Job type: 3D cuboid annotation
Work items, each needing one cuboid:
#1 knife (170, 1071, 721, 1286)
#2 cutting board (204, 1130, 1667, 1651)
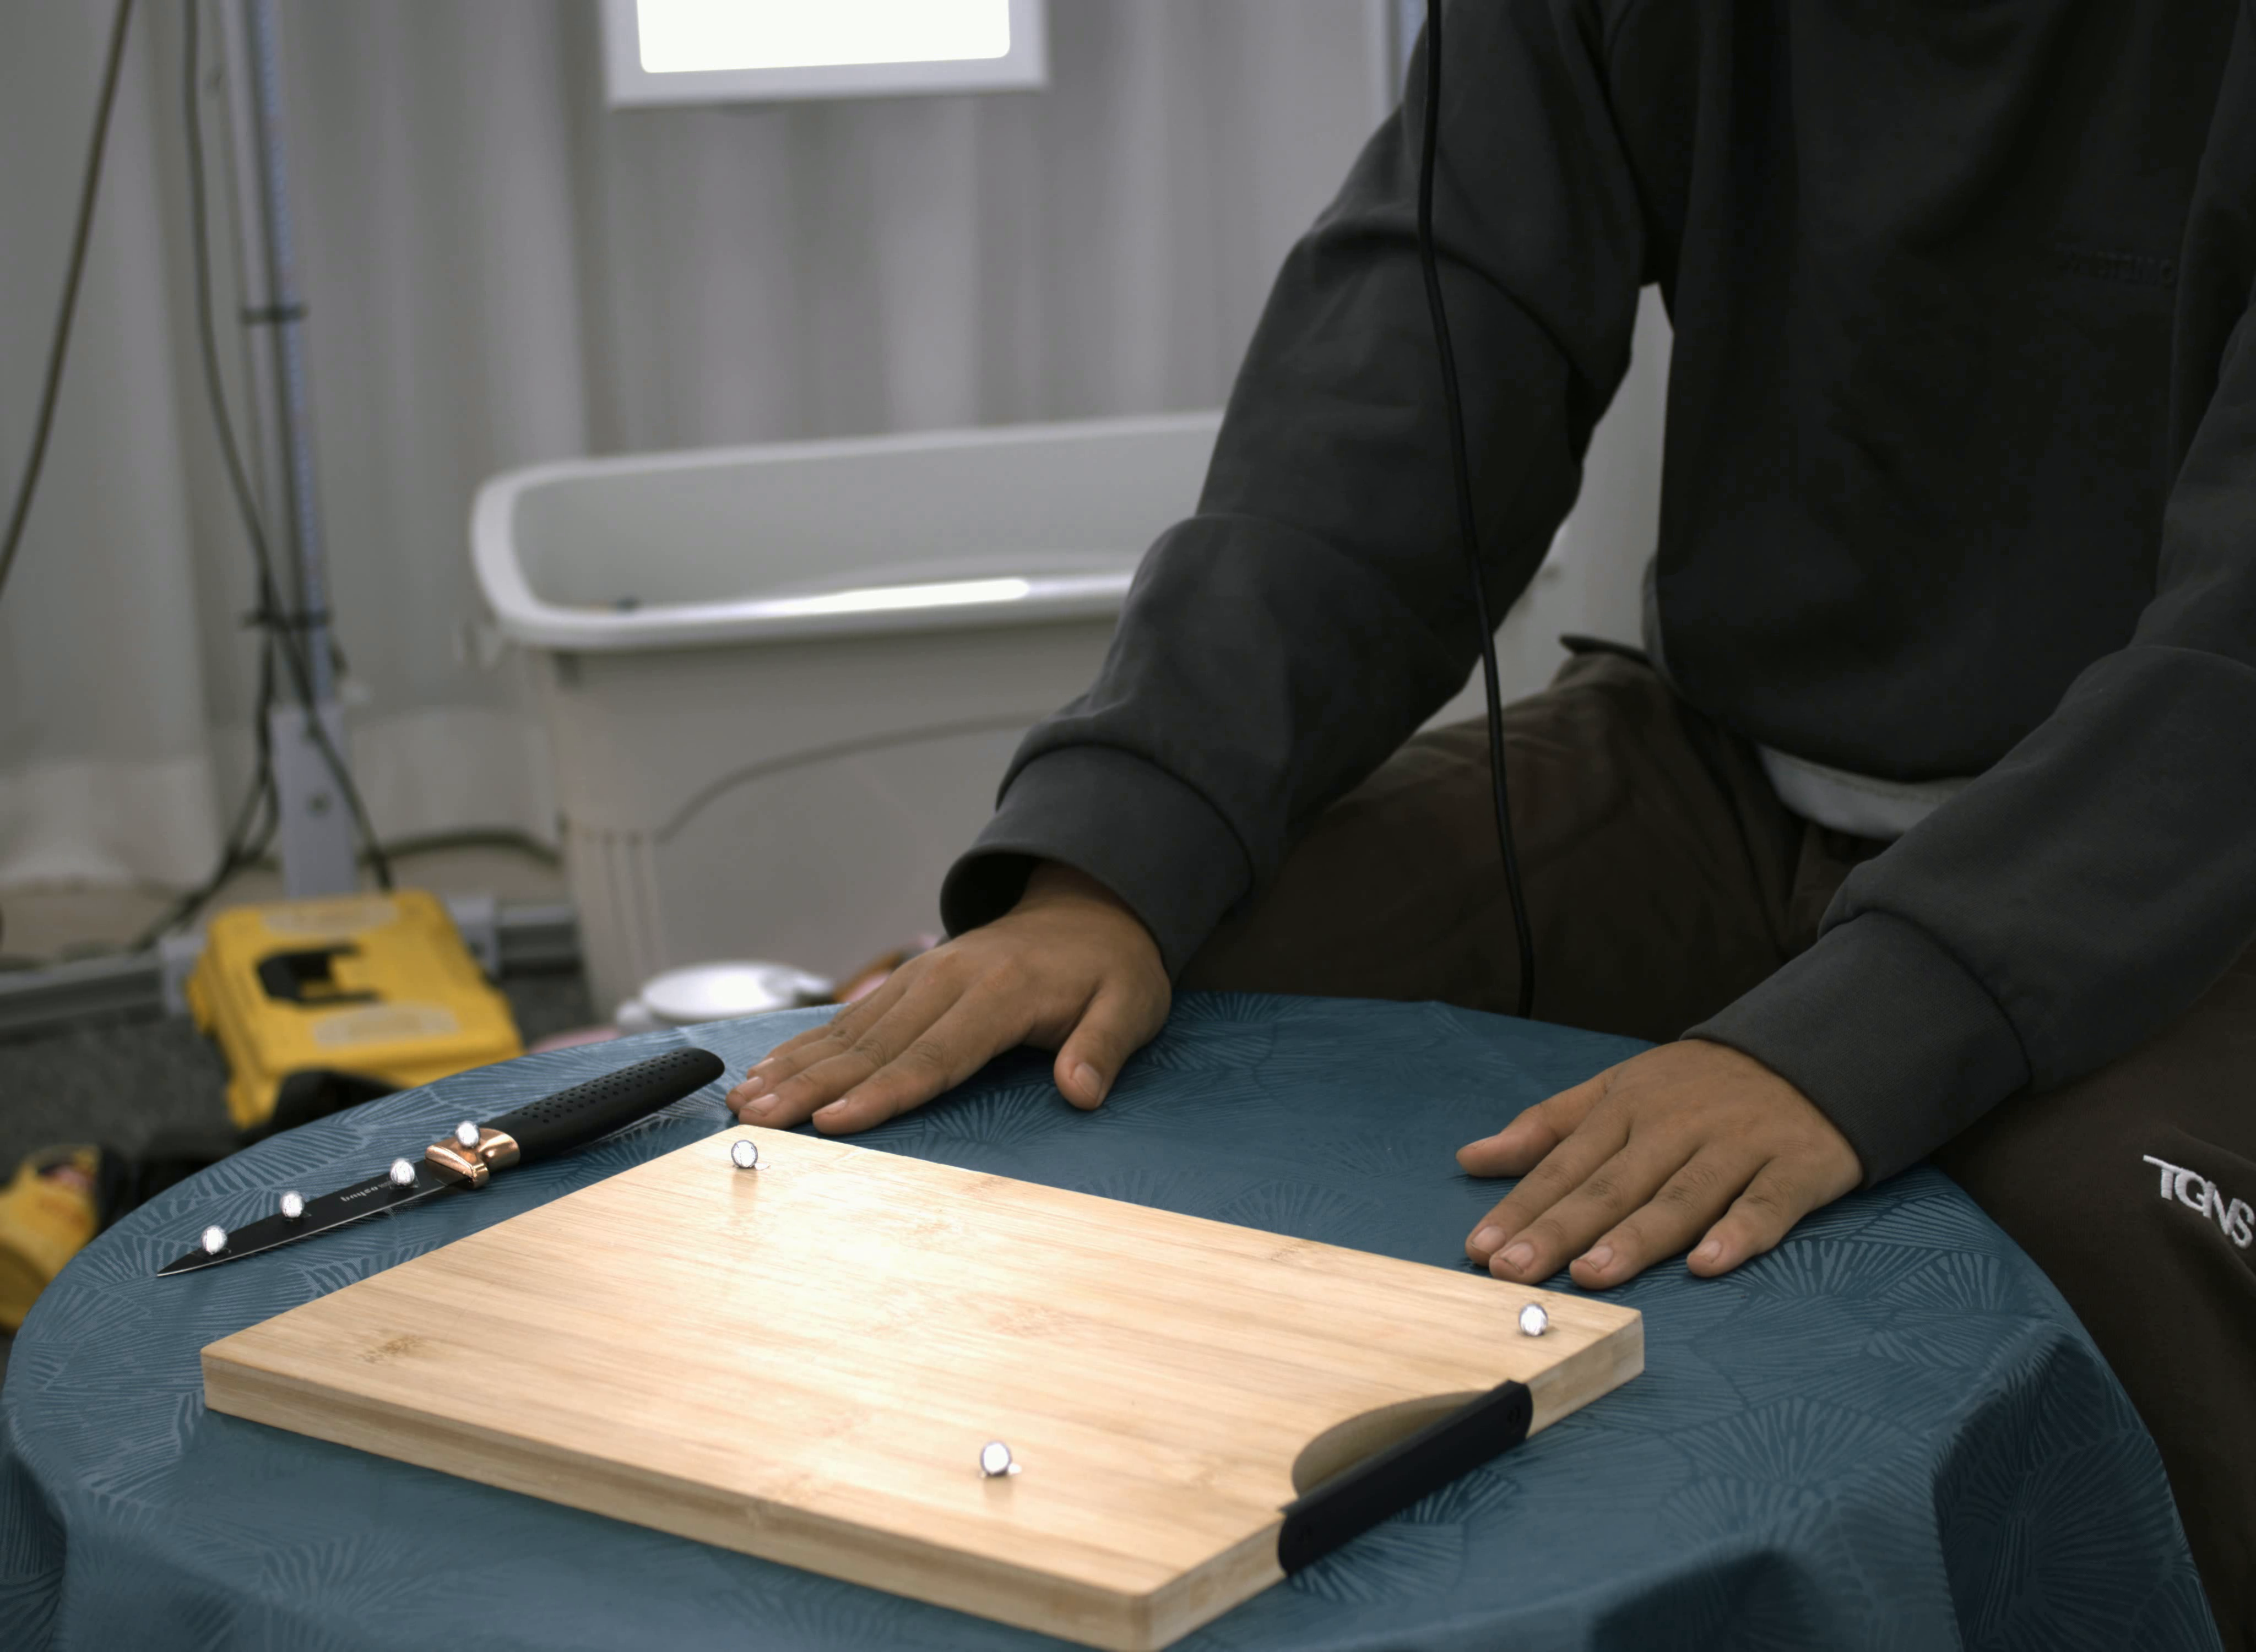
[{"bbox_3d":[-0.216,0.112,1.744,0.026,0.017,0.225,18,26,42],"label":"knife"},{"bbox_3d":[-0.055,0.154,1.549,0.350,0.023,0.250,8,19,36],"label":"cutting board"}]
